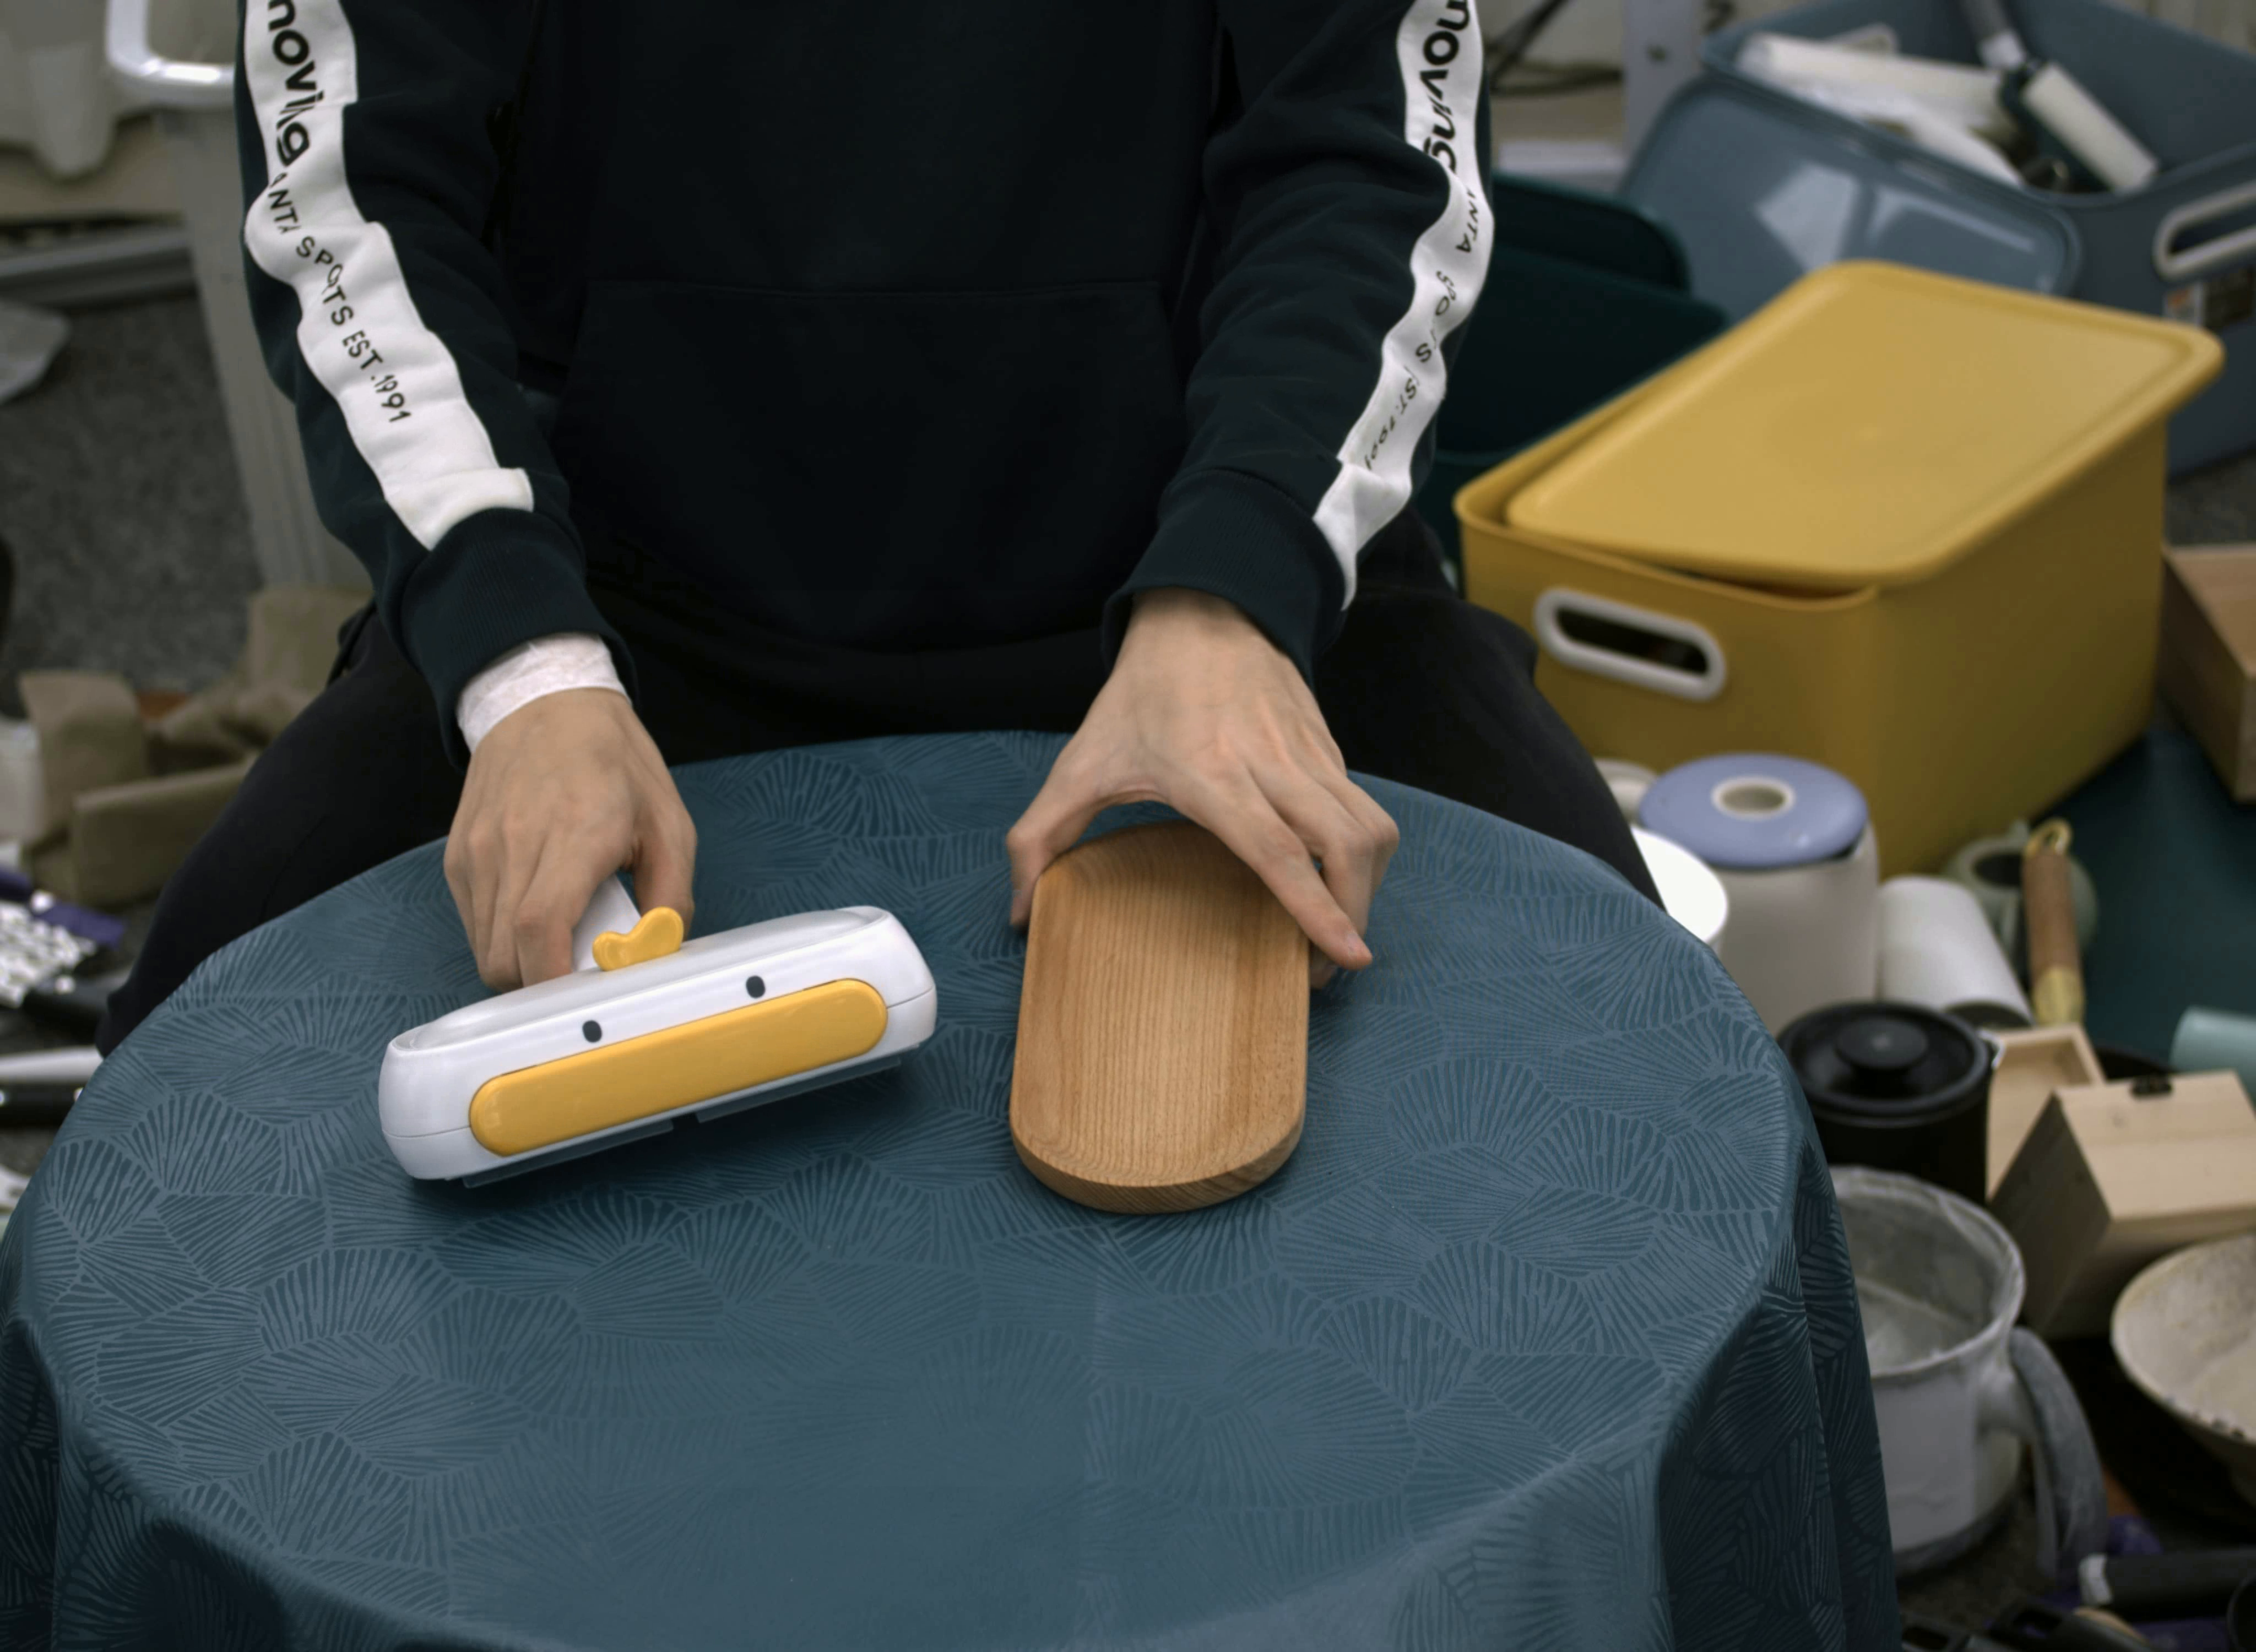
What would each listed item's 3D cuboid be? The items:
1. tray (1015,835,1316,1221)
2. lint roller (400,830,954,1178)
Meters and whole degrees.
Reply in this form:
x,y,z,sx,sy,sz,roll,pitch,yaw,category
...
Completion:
x,y,z,sx,sy,sz,roll,pitch,yaw,category
0.014,0.067,1.937,0.101,0.020,0.235,-2,31,3,tray
-0.175,0.051,1.948,0.193,0.074,0.192,-21,20,-17,lint roller
